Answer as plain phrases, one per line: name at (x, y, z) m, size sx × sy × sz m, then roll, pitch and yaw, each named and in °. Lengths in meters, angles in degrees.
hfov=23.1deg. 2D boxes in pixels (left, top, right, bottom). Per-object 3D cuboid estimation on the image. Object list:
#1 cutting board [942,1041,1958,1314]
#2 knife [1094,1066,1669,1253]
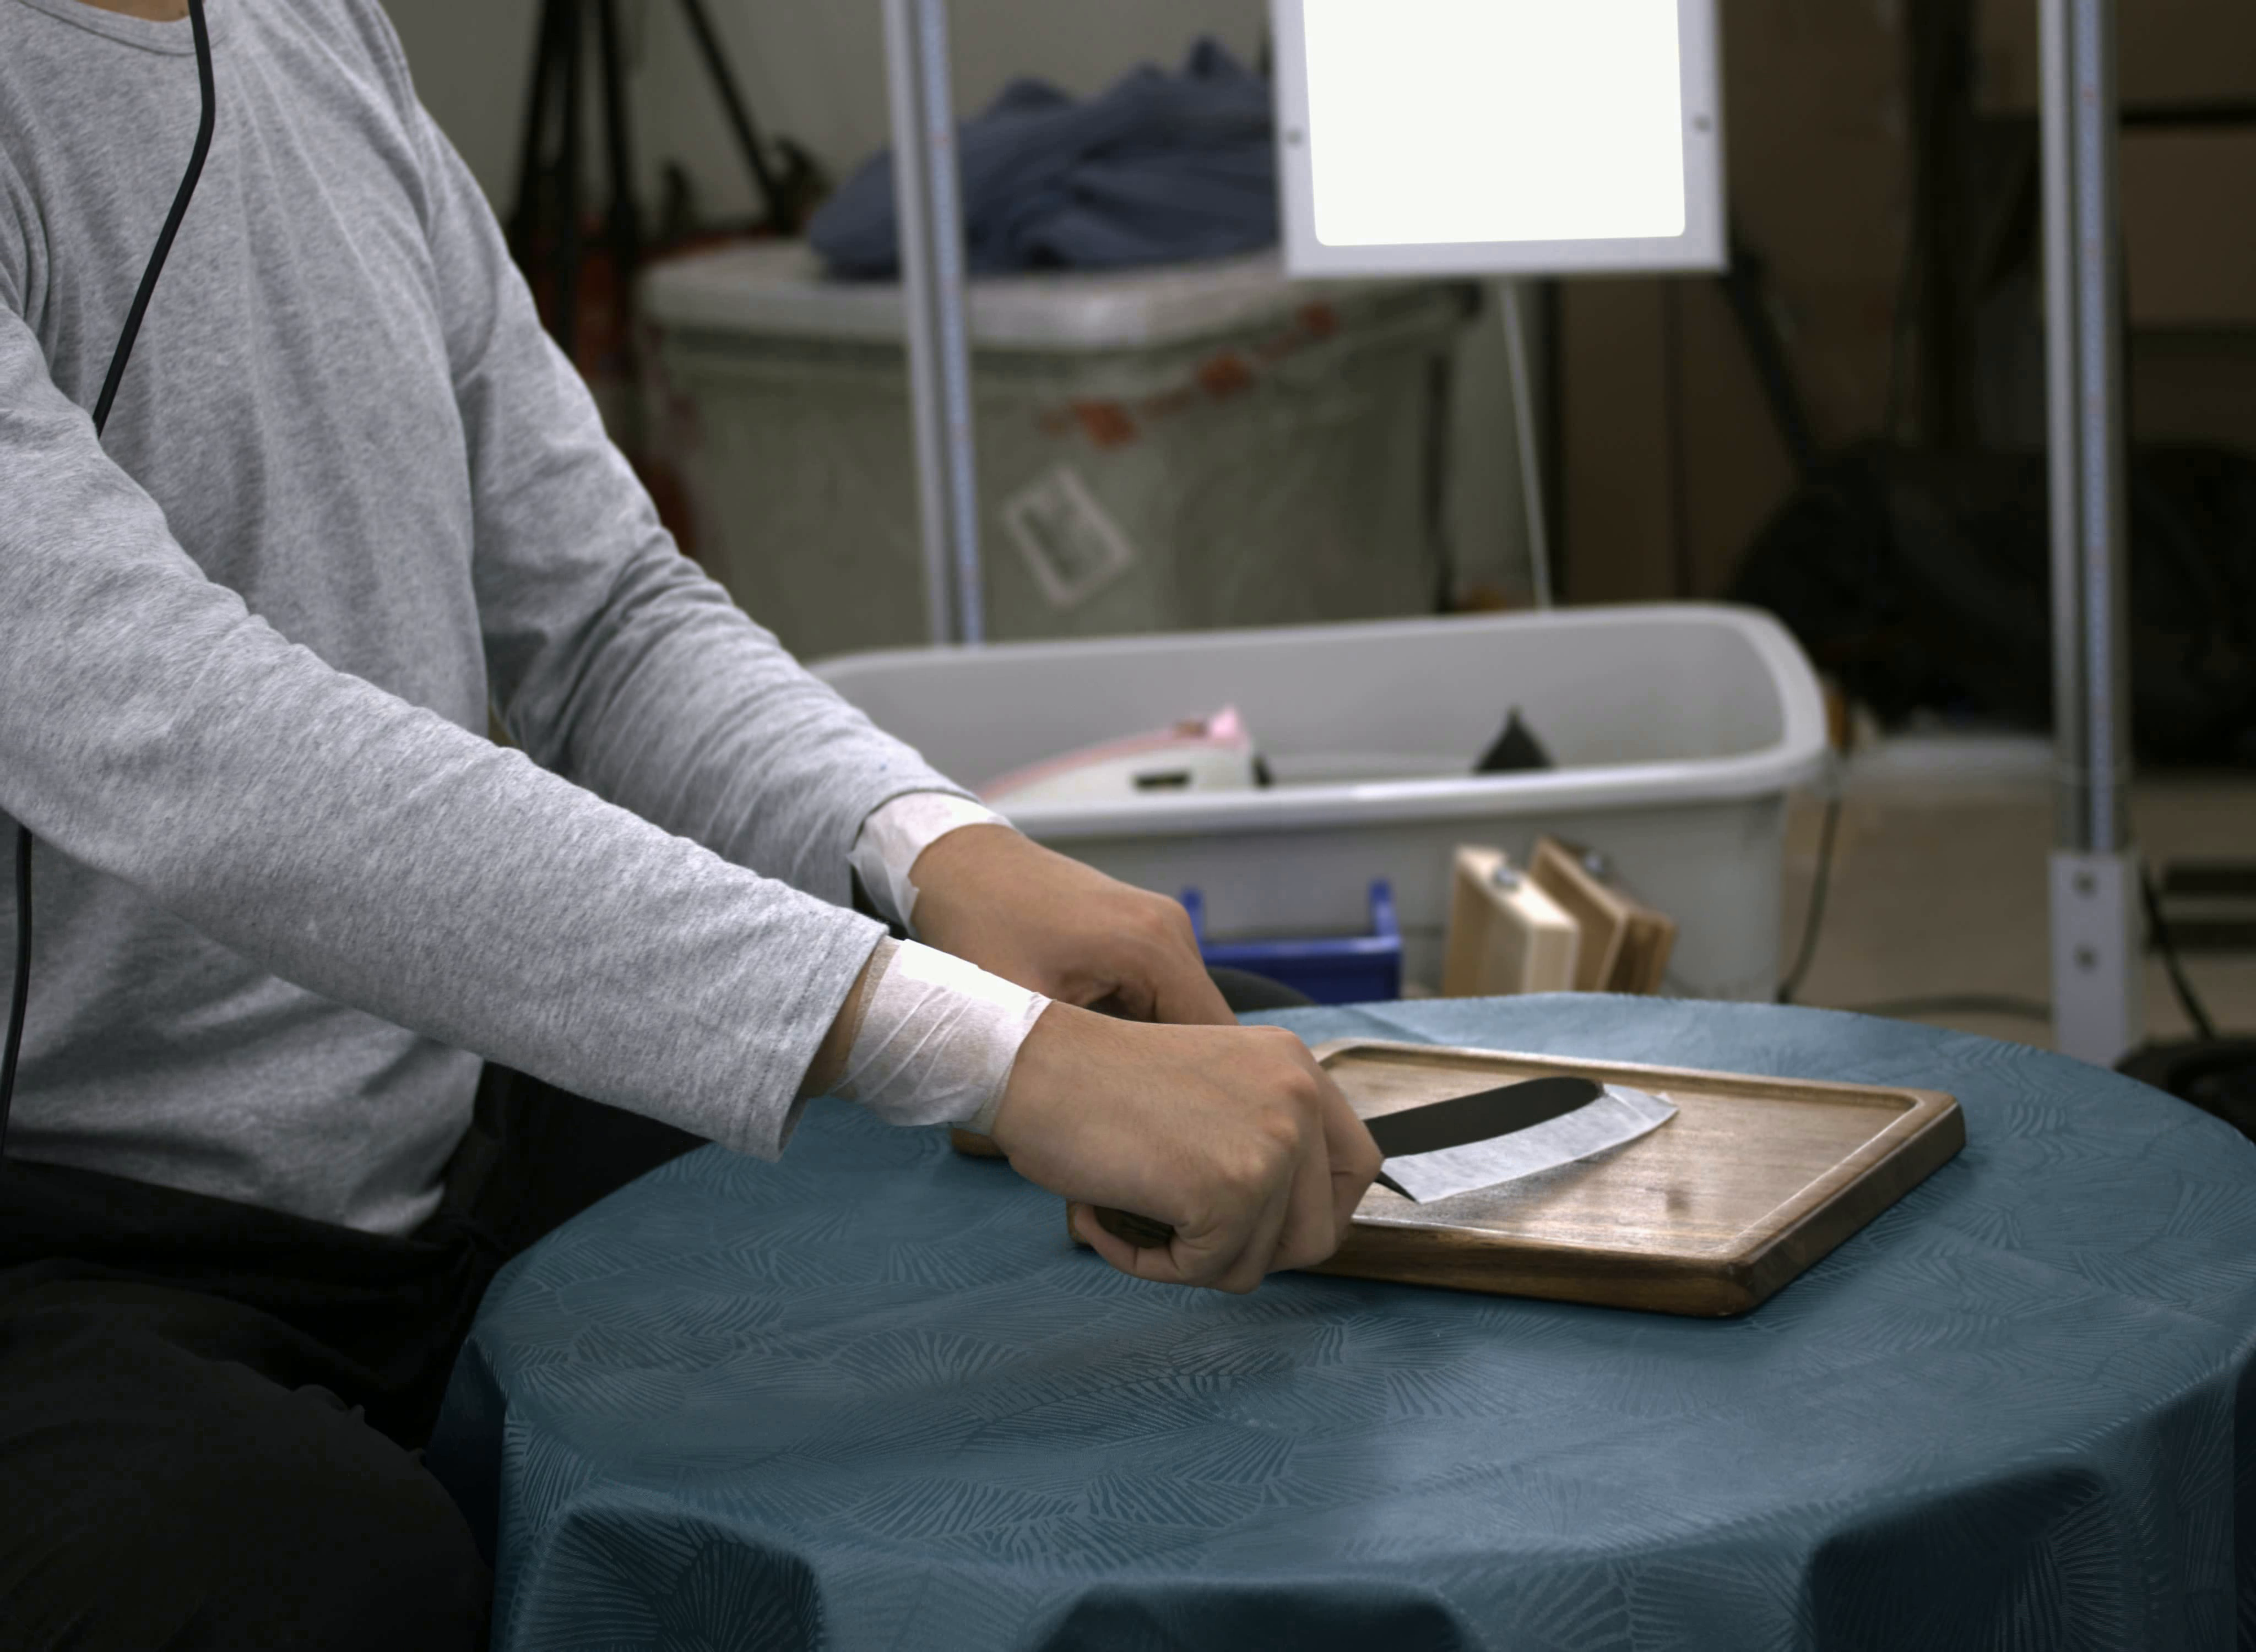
cutting board at (0.090, 0.112, 1.882) m, size 0.359 × 0.023 × 0.196 m, roll 4°, pitch 15°, yaw 32°
knife at (0.090, 0.106, 1.788) m, size 0.281 × 0.020 × 0.051 m, roll -8°, pitch 39°, yaw -47°
